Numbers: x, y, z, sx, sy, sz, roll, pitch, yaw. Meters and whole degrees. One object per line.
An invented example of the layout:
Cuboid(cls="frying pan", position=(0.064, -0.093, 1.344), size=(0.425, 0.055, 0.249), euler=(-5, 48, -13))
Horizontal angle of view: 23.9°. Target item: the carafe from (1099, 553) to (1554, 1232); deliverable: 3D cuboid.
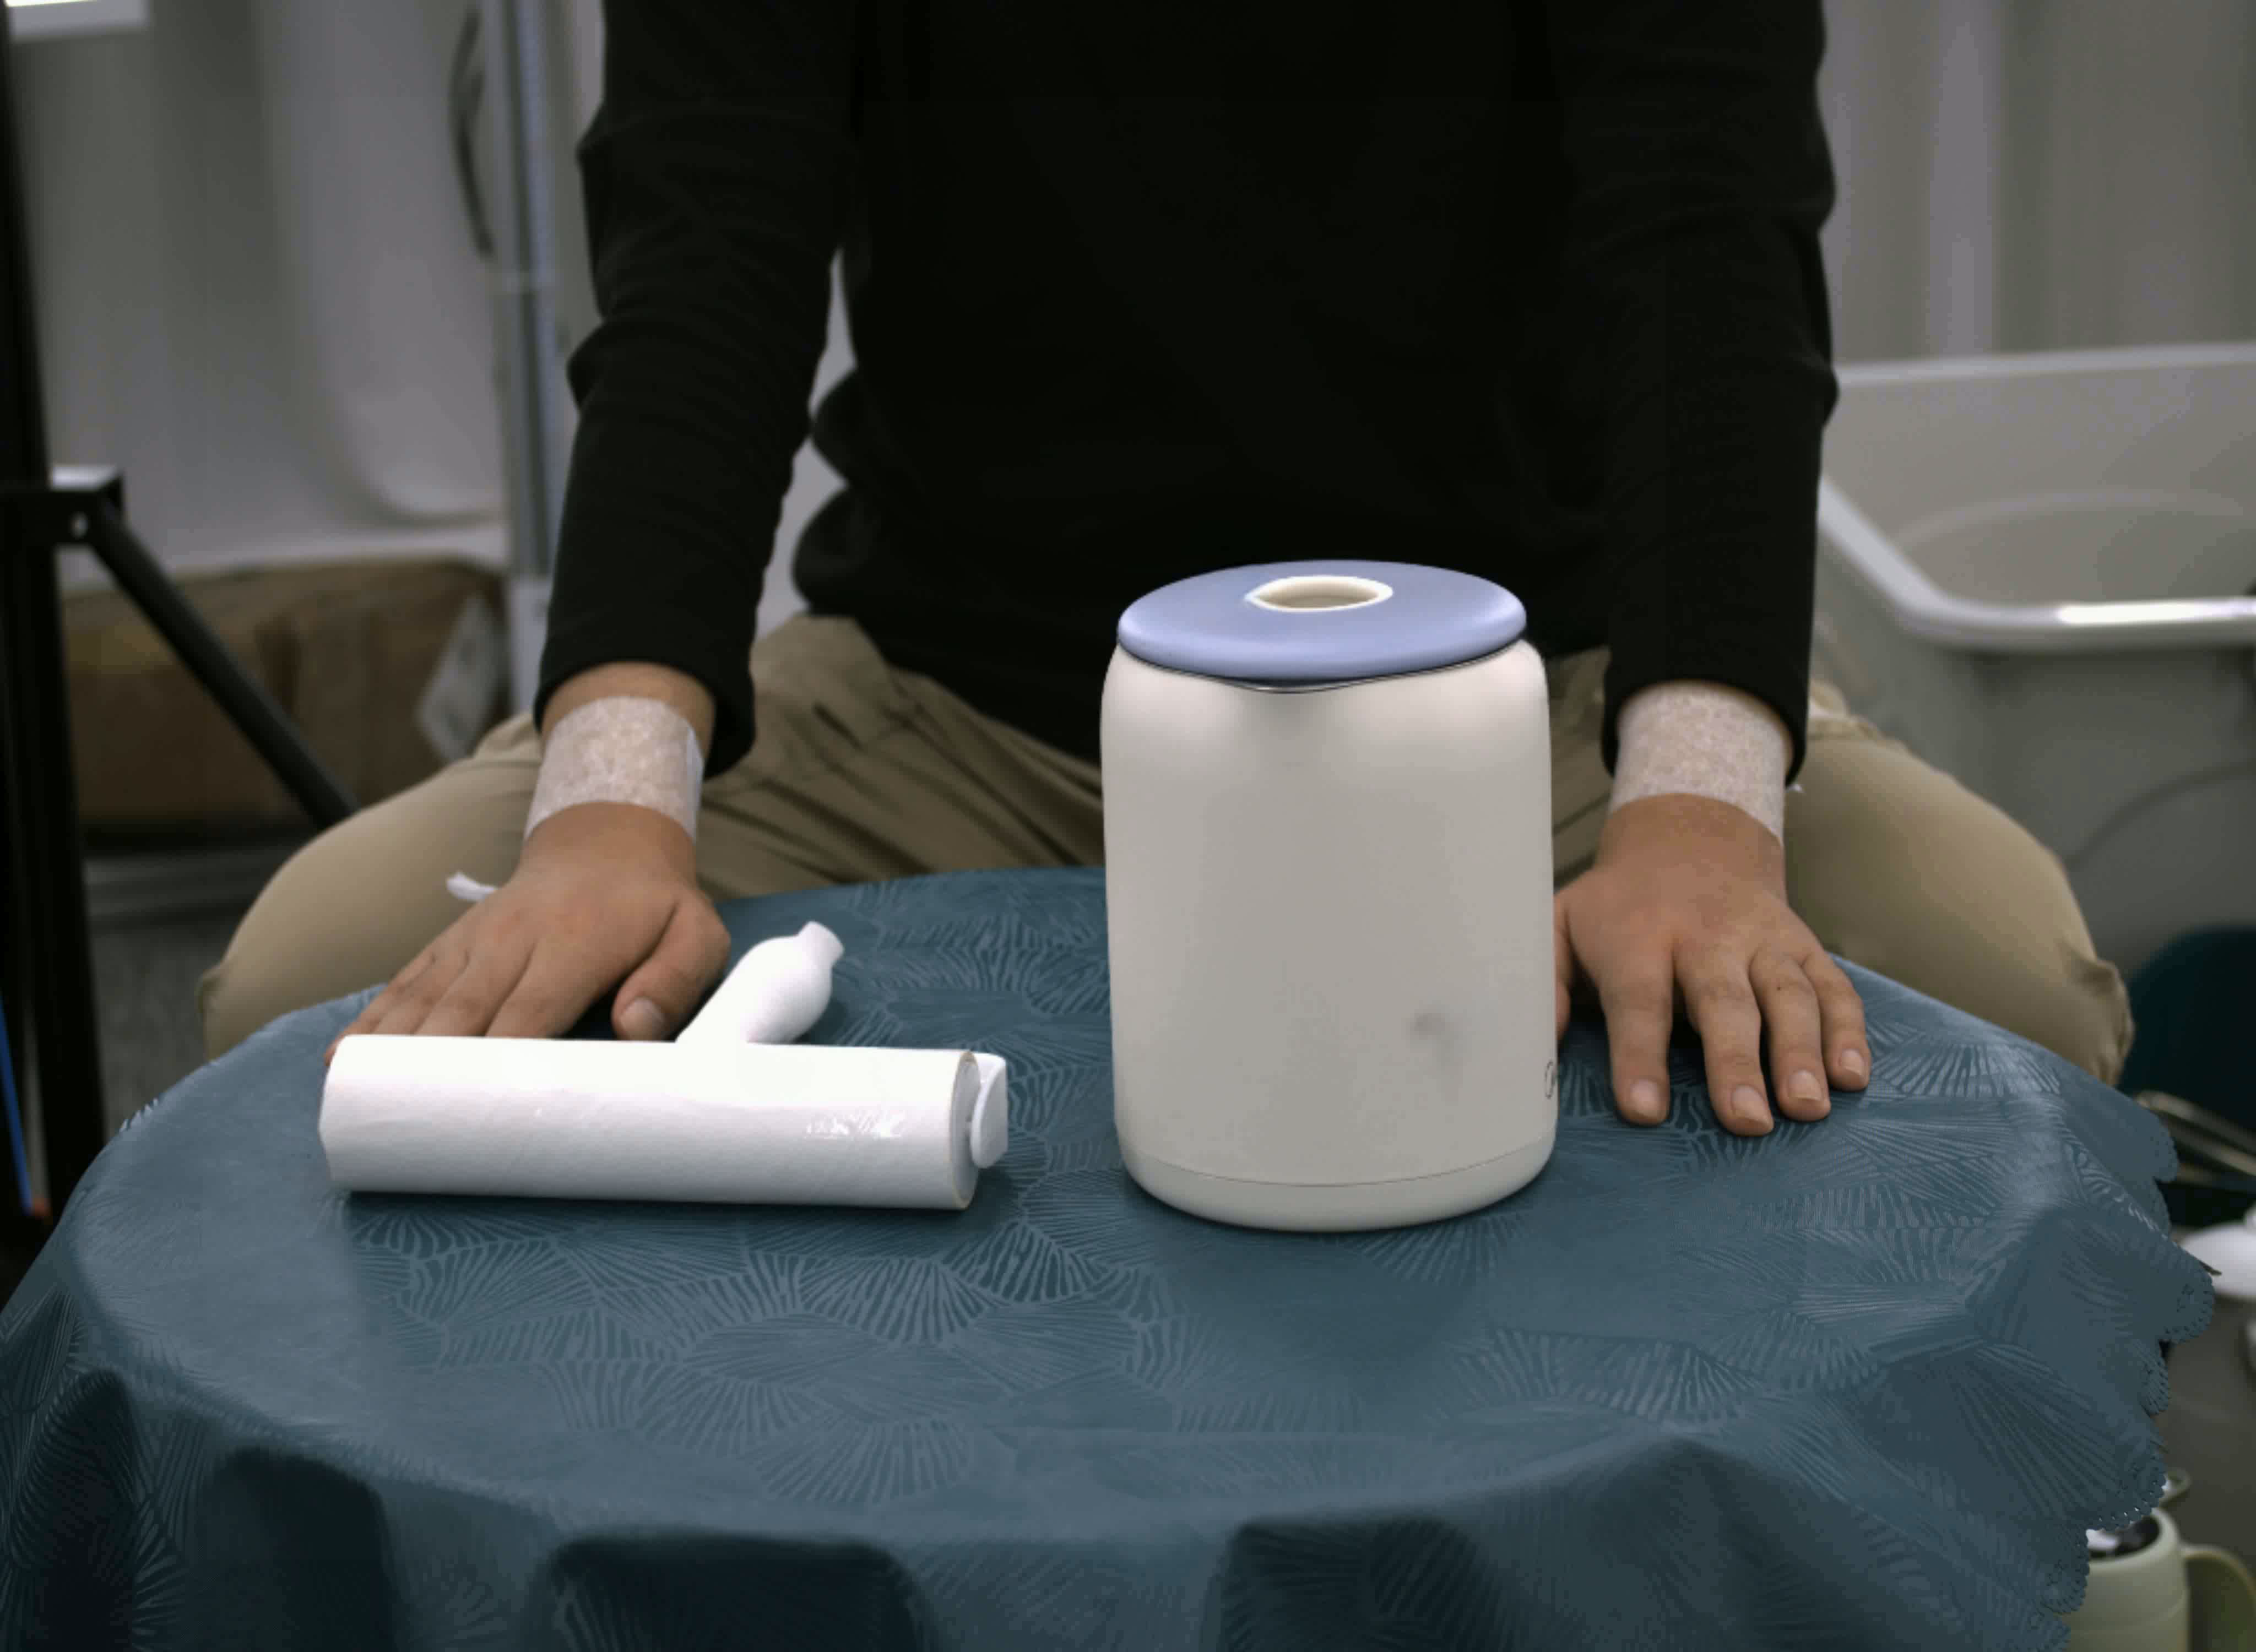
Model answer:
Cuboid(cls="carafe", position=(0.062, 0.012, 1.571), size=(0.133, 0.182, 0.190), euler=(1, 13, 9))

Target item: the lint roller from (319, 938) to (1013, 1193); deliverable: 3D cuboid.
Cuboid(cls="lint roller", position=(-0.124, 0.064, 1.656), size=(0.204, 0.048, 0.224), euler=(-1, 14, 11))
